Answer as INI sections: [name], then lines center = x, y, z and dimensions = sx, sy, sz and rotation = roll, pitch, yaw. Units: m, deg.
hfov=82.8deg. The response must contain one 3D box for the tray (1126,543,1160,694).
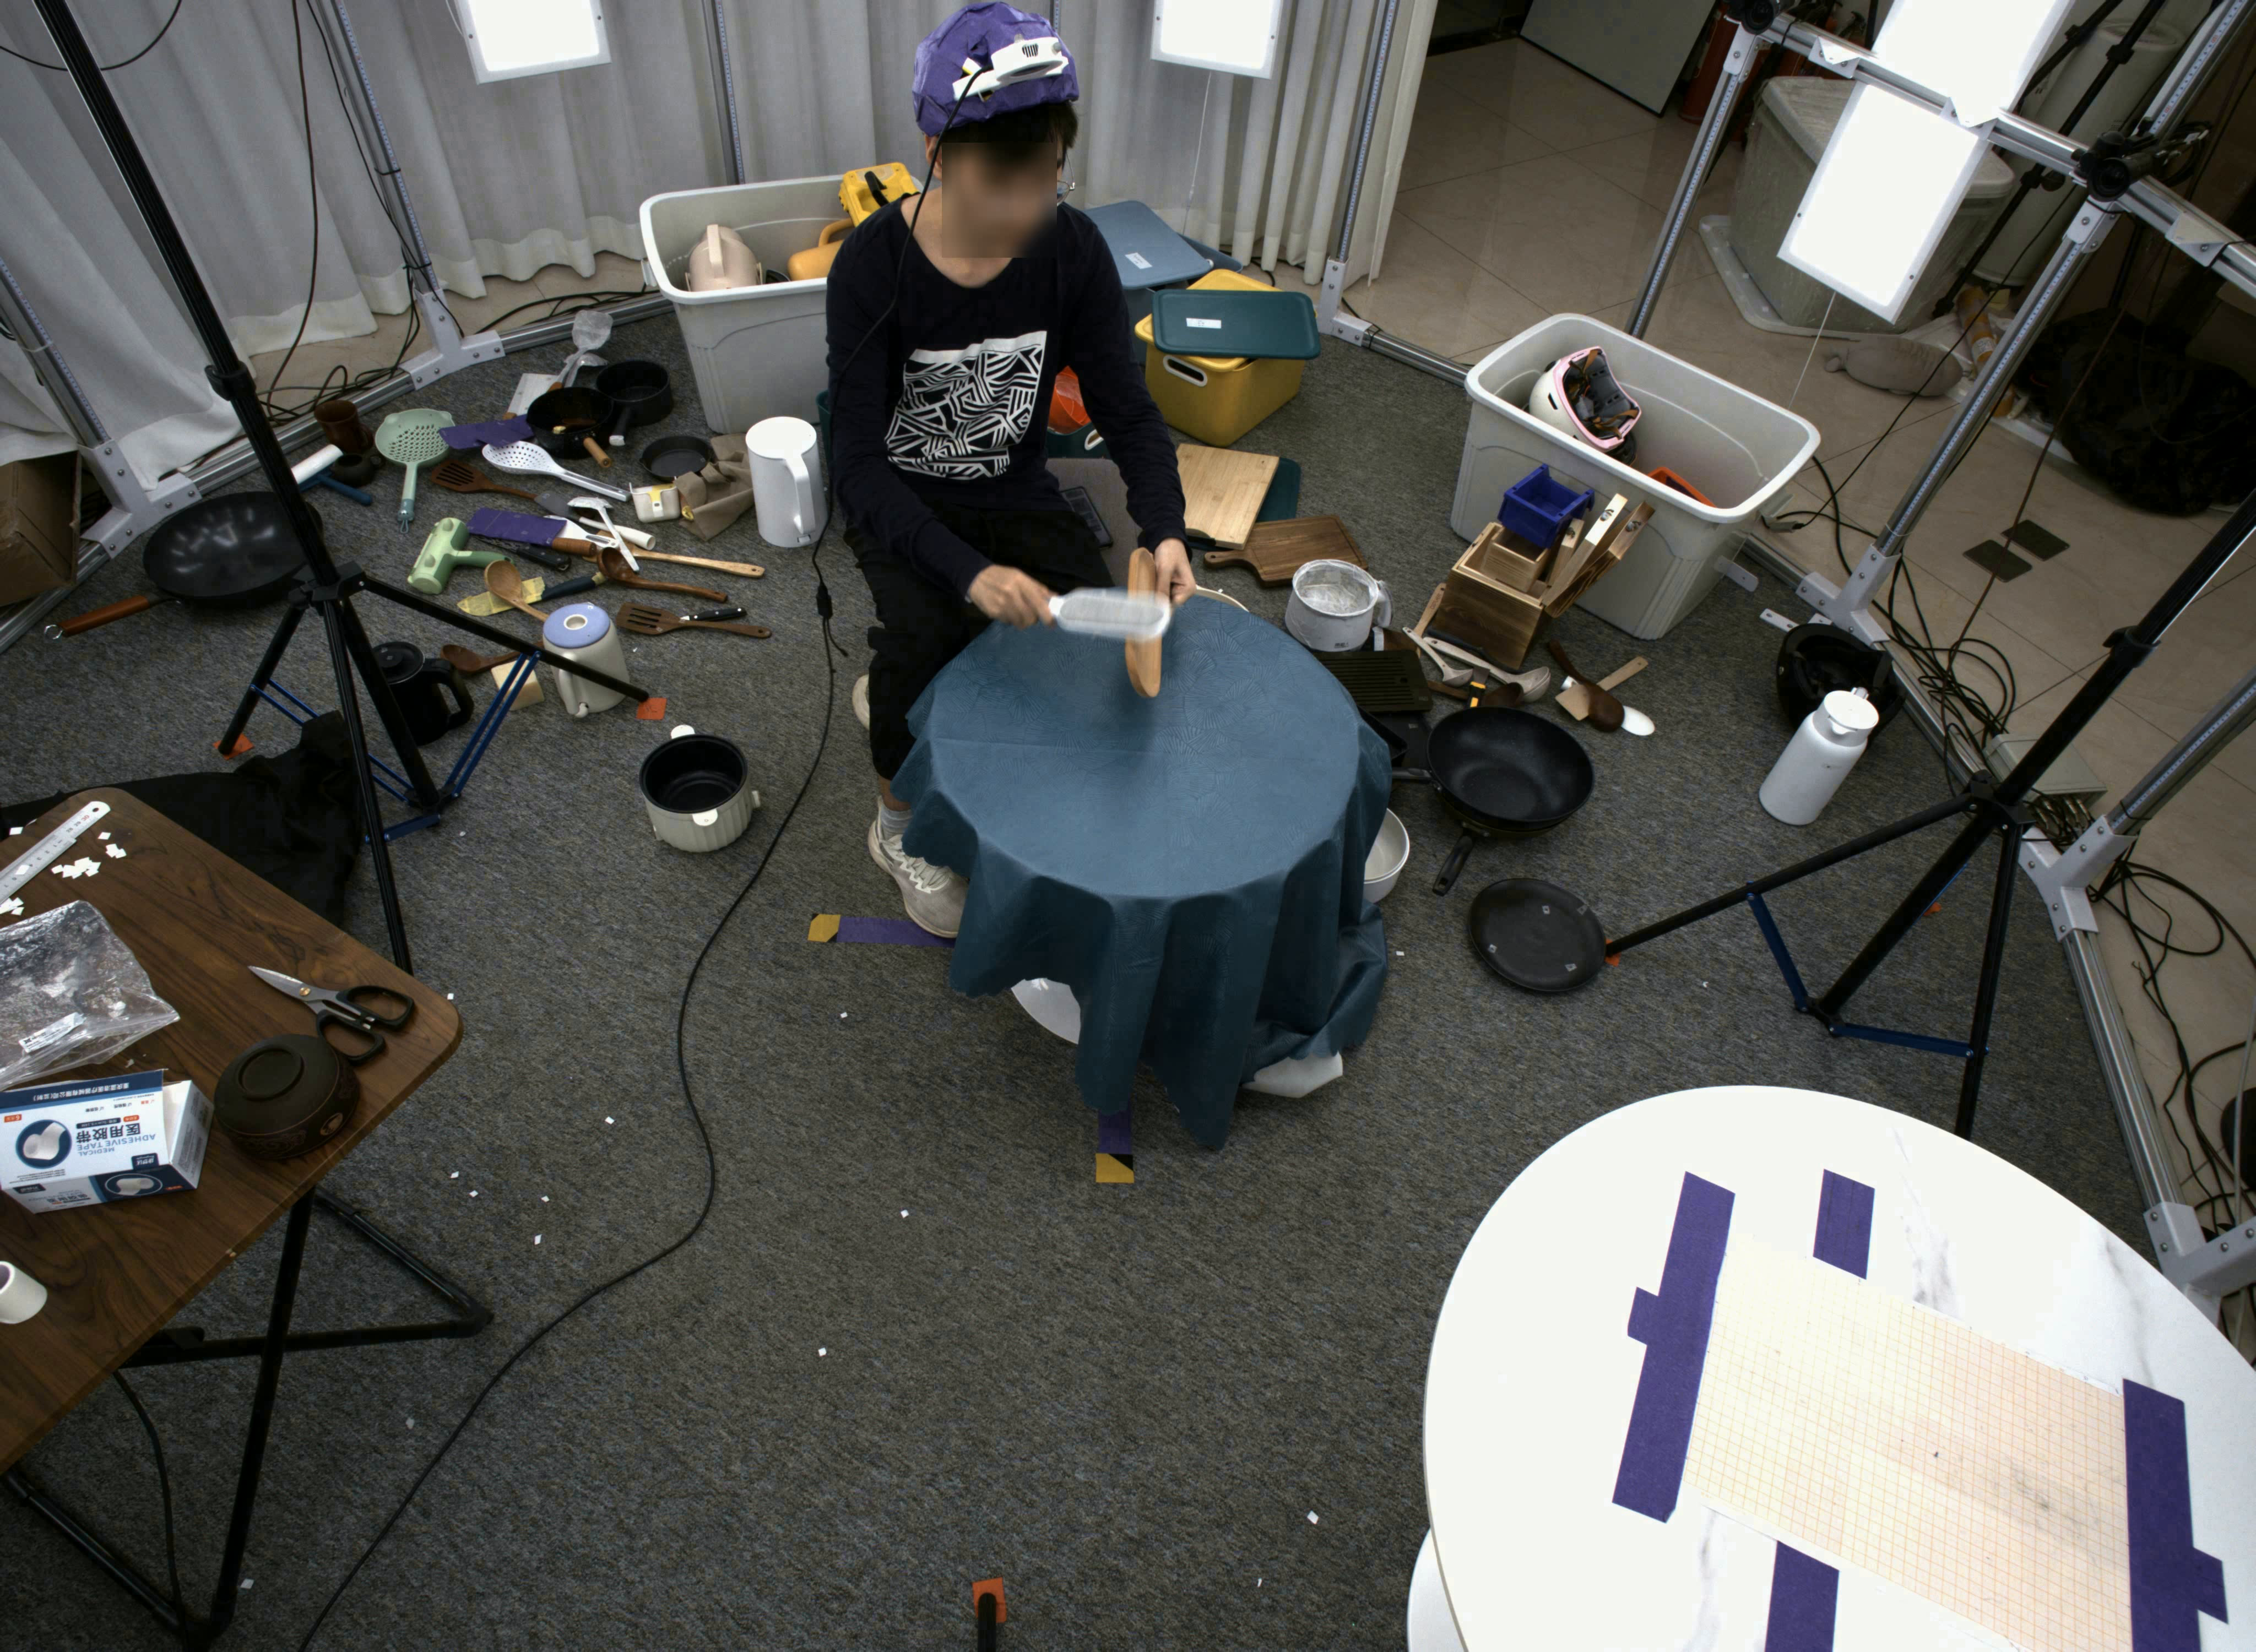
[tray]
center = 0.021, -0.287, 1.768
dimensions = 0.020, 0.099, 0.236
rotation = -10, 59, 17

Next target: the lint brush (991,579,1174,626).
[lint brush]
center = -0.069, -0.309, 1.758
dimensions = 0.311, 0.020, 0.060
rotation = 10, 75, 36
